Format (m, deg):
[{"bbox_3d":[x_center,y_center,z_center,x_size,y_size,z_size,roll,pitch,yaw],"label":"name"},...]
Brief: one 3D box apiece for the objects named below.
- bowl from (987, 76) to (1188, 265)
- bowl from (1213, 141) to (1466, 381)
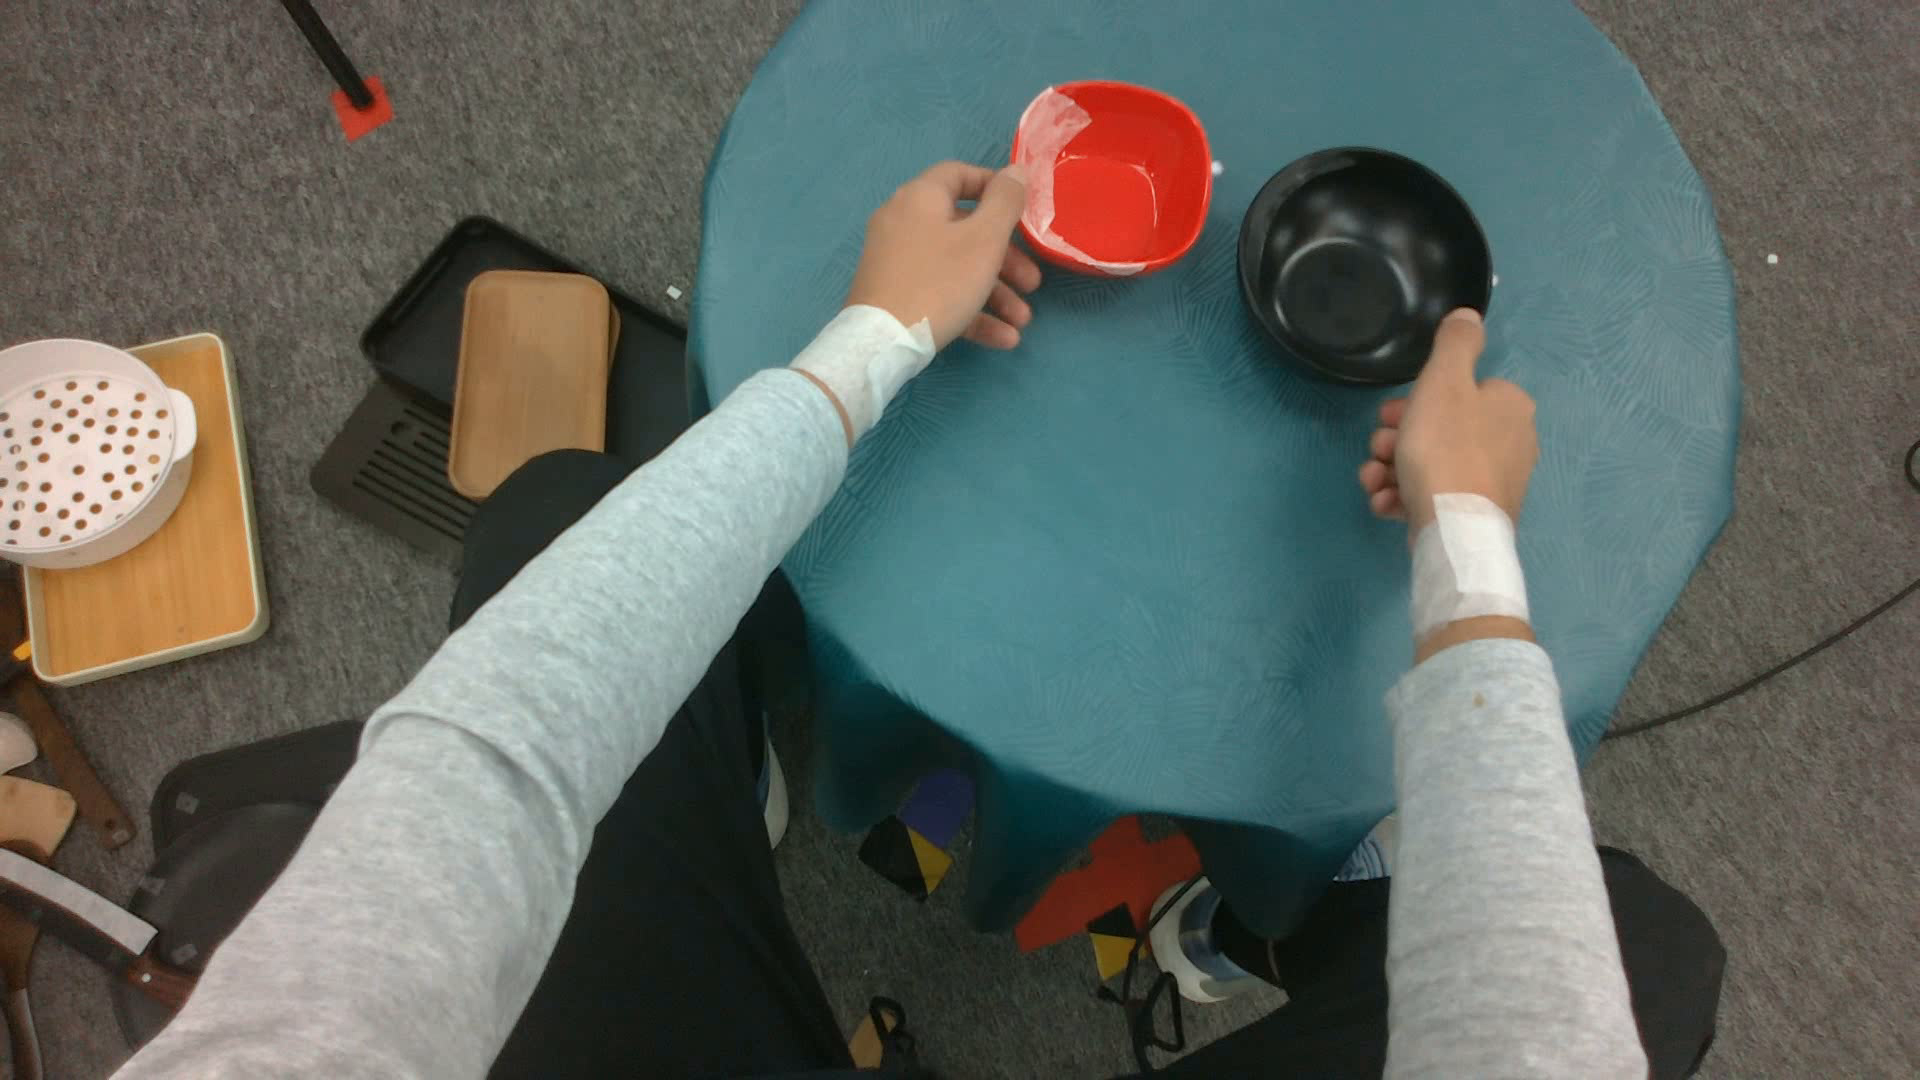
[{"bbox_3d":[0.067,-0.197,0.770,0.119,0.051,0.119,2,72,-6],"label":"bowl"},{"bbox_3d":[0.206,-0.149,0.771,0.140,0.049,0.140,1,77,-3],"label":"bowl"}]
